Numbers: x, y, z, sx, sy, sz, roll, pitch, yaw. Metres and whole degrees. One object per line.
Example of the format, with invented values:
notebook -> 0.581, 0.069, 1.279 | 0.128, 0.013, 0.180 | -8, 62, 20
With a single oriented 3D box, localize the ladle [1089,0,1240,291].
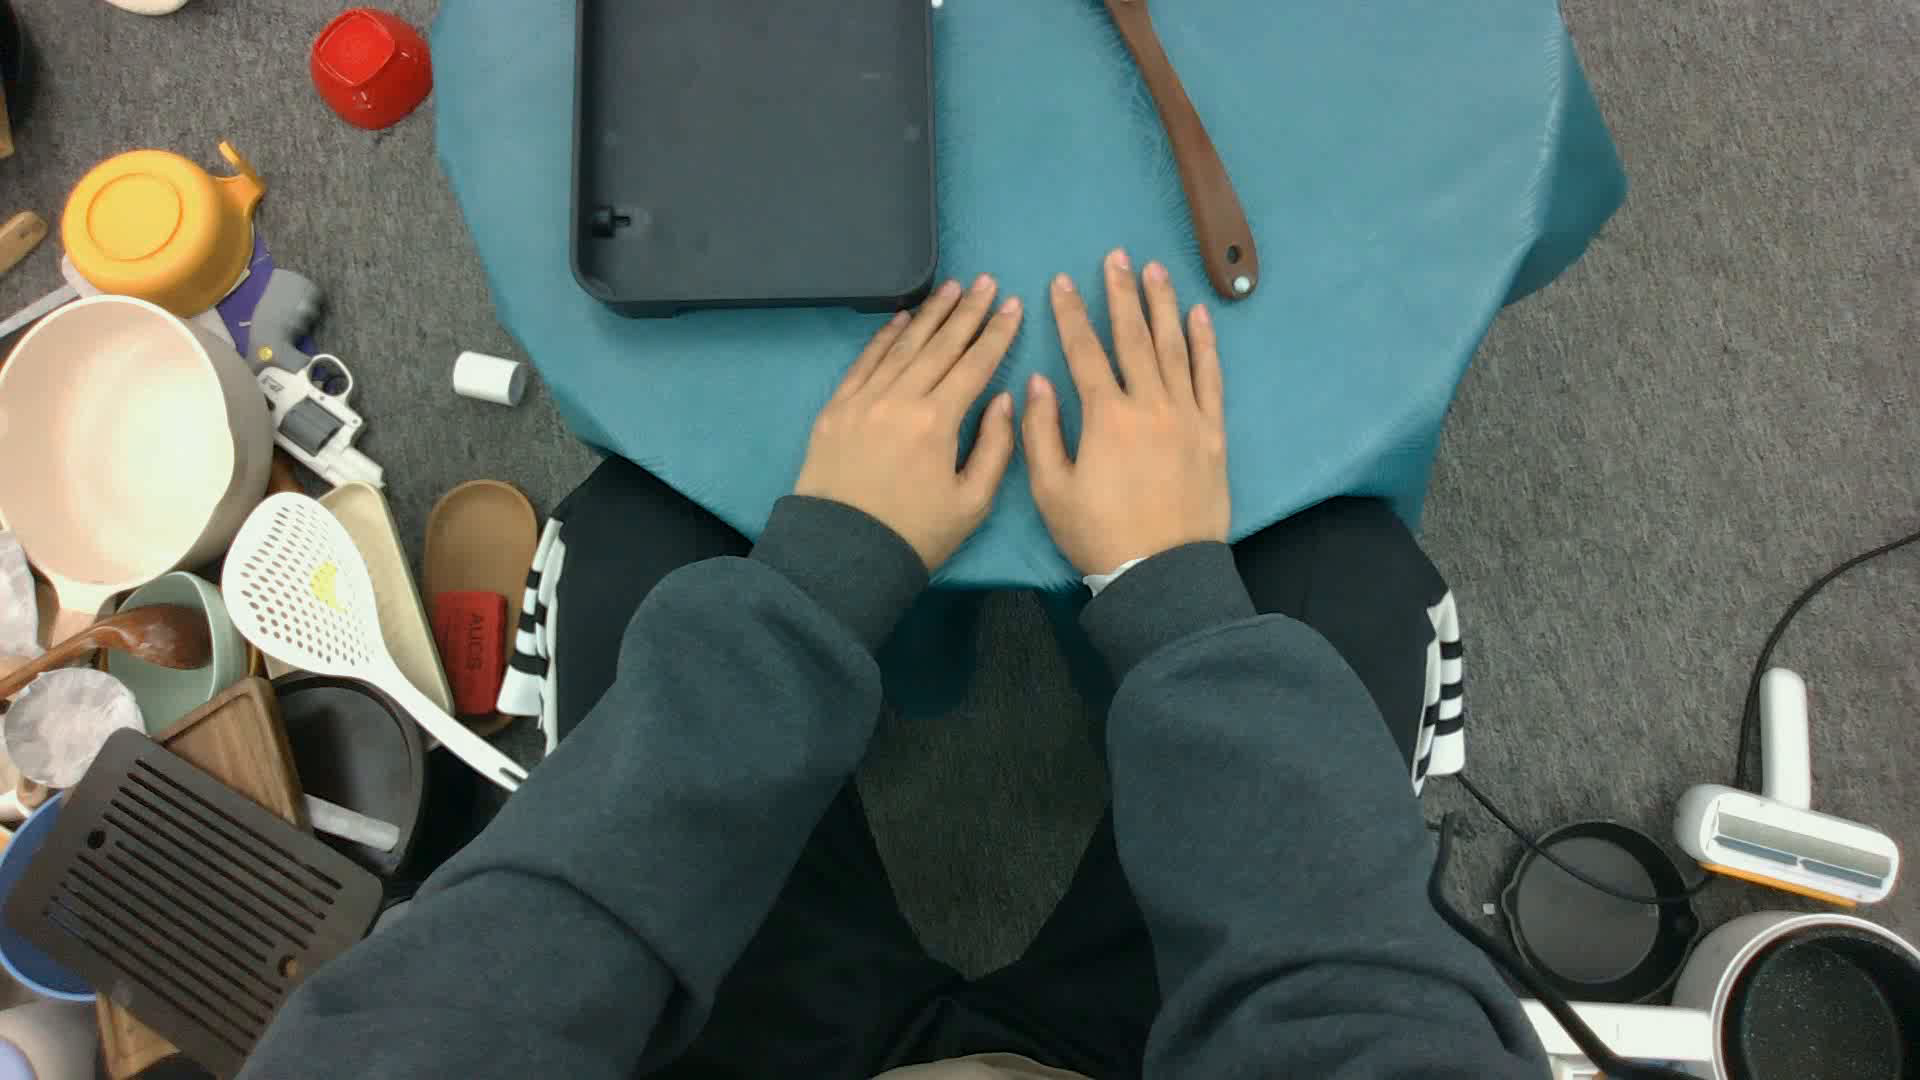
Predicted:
ladle -> 0.094, -0.254, 0.705 | 0.076, 0.065, 0.260 | -19, 82, -5

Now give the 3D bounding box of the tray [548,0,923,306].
tray -> -0.115, -0.277, 0.717 | 0.184, 0.037, 0.318 | -2, 79, -1
